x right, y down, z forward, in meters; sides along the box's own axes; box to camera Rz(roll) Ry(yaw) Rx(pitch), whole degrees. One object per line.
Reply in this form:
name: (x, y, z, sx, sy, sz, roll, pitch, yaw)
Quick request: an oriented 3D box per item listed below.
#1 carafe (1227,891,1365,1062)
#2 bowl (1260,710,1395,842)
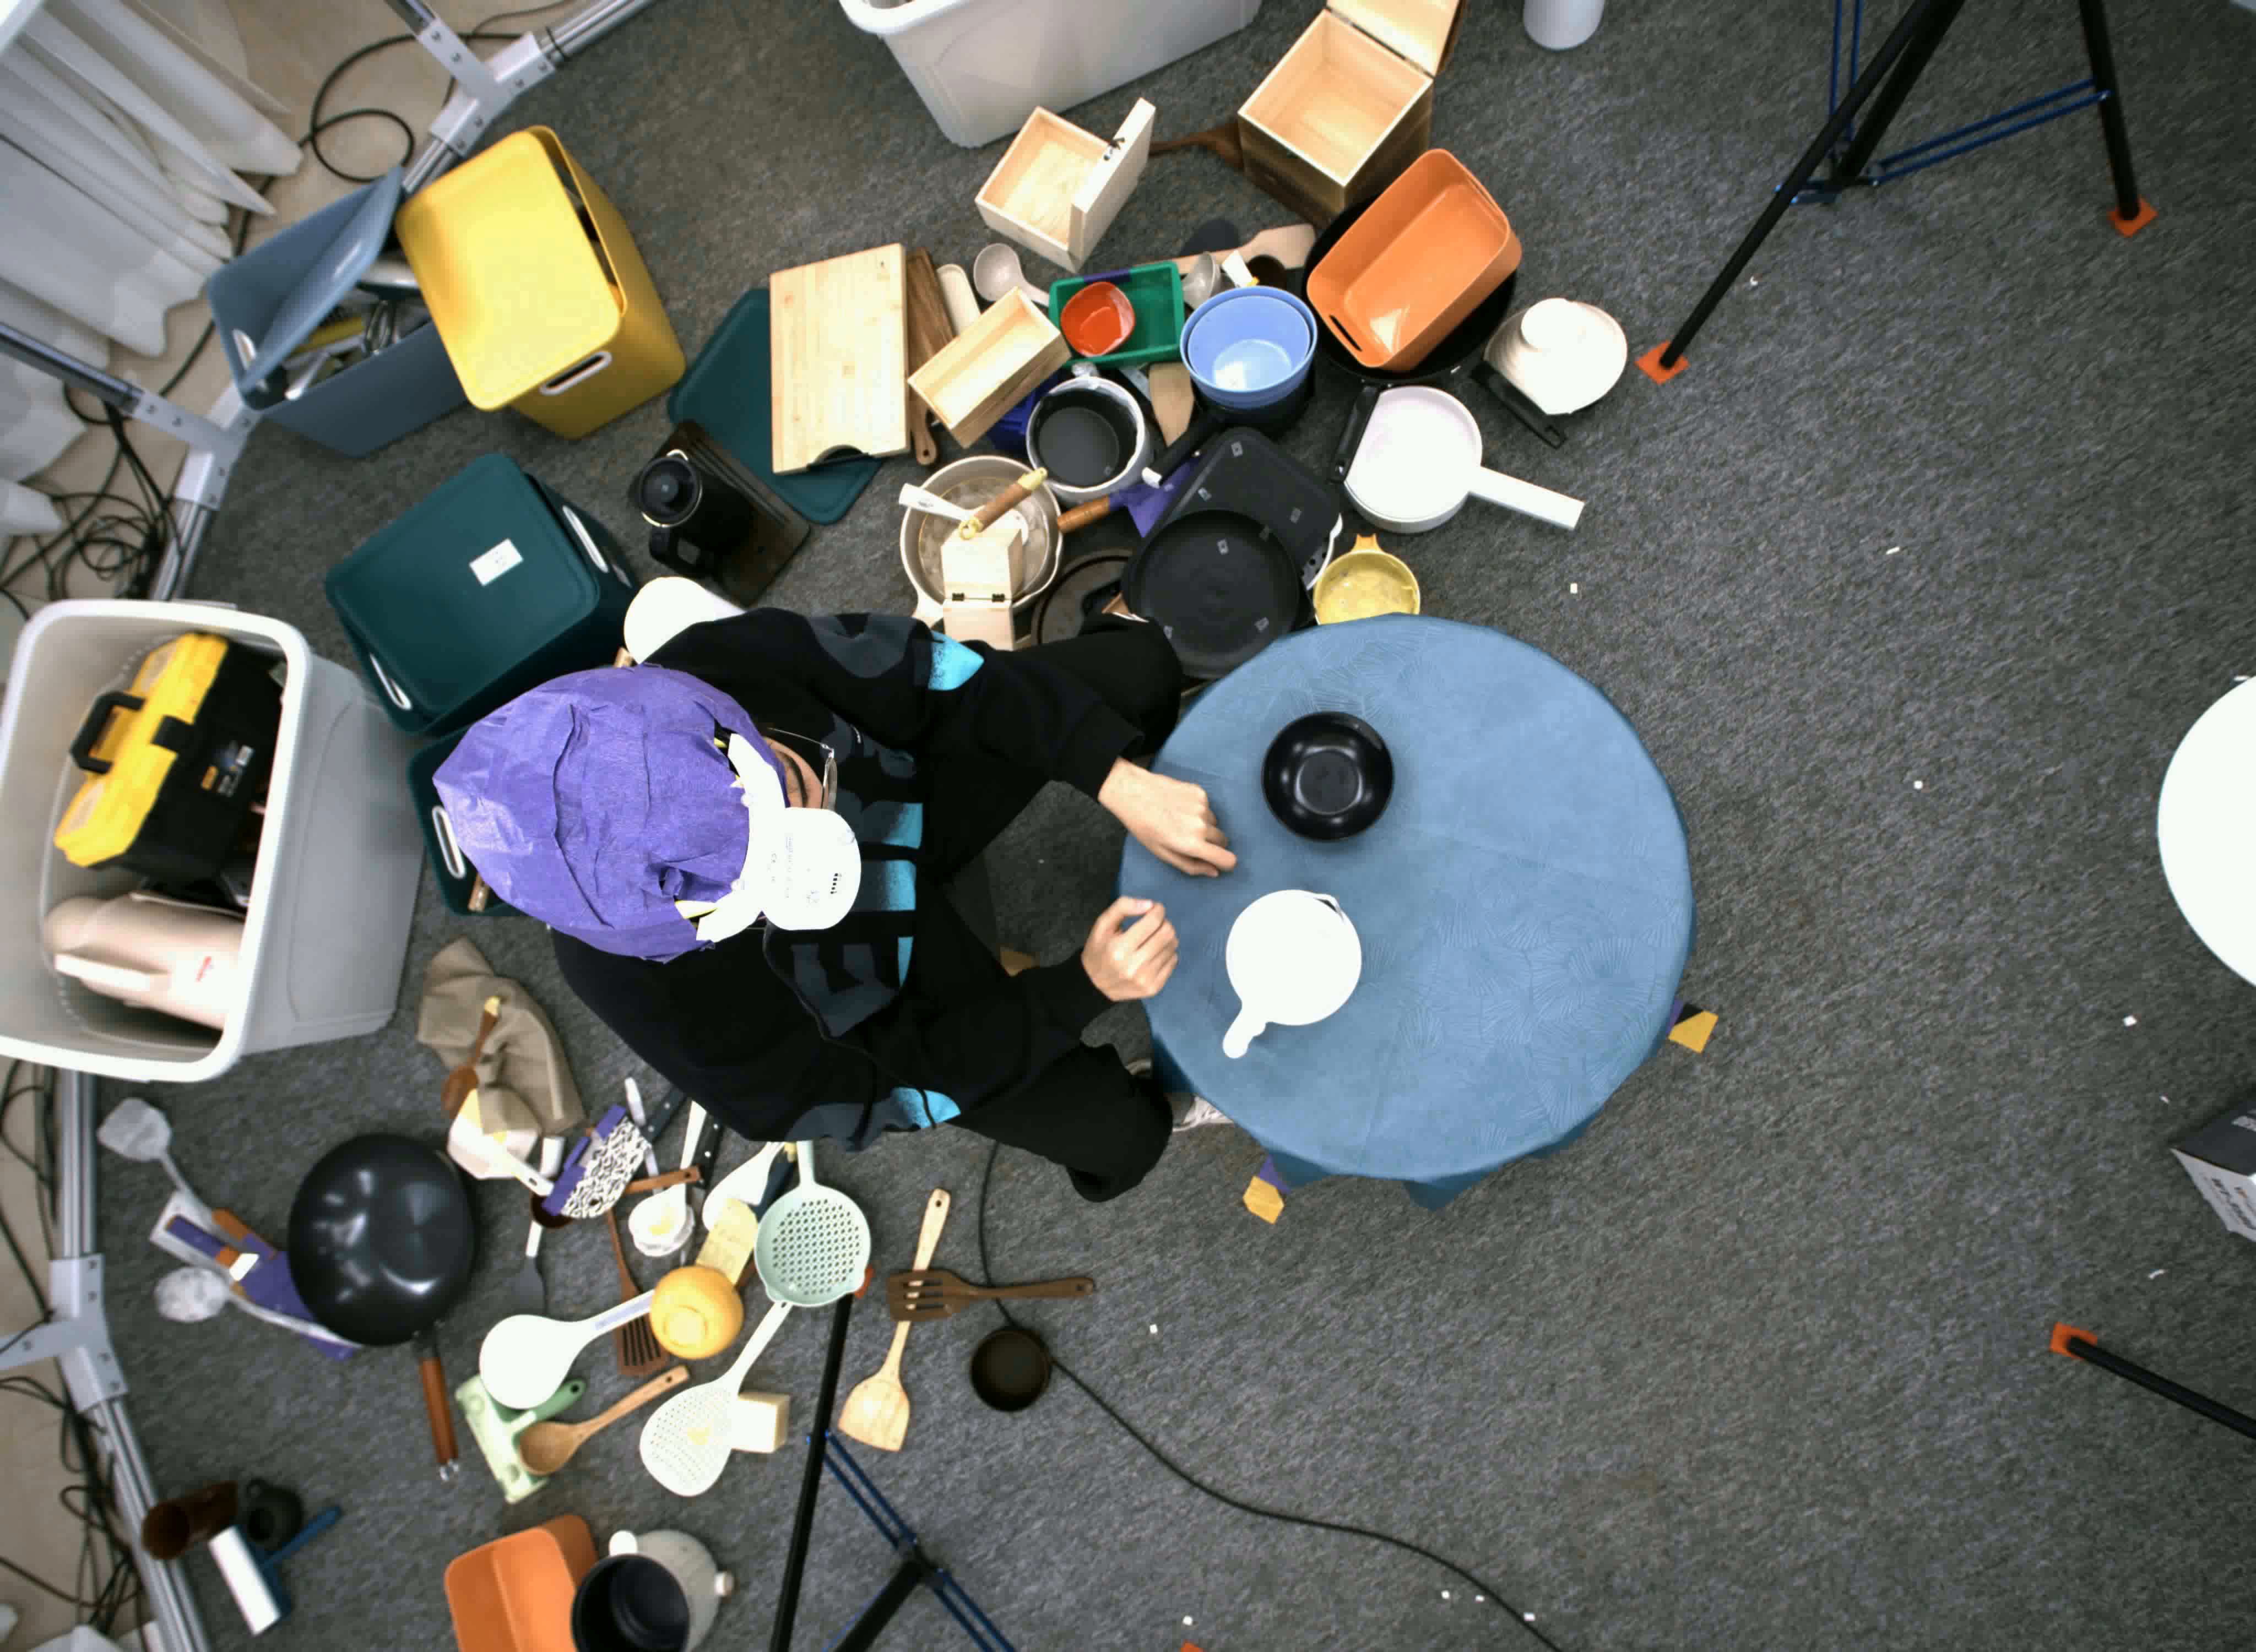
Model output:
carafe: (0.156, 0.152, 1.386, 0.132, 0.182, 0.192, 33, 94, 12)
bowl: (0.210, -0.051, 1.448, 0.140, 0.050, 0.139, -1, 87, 12)
